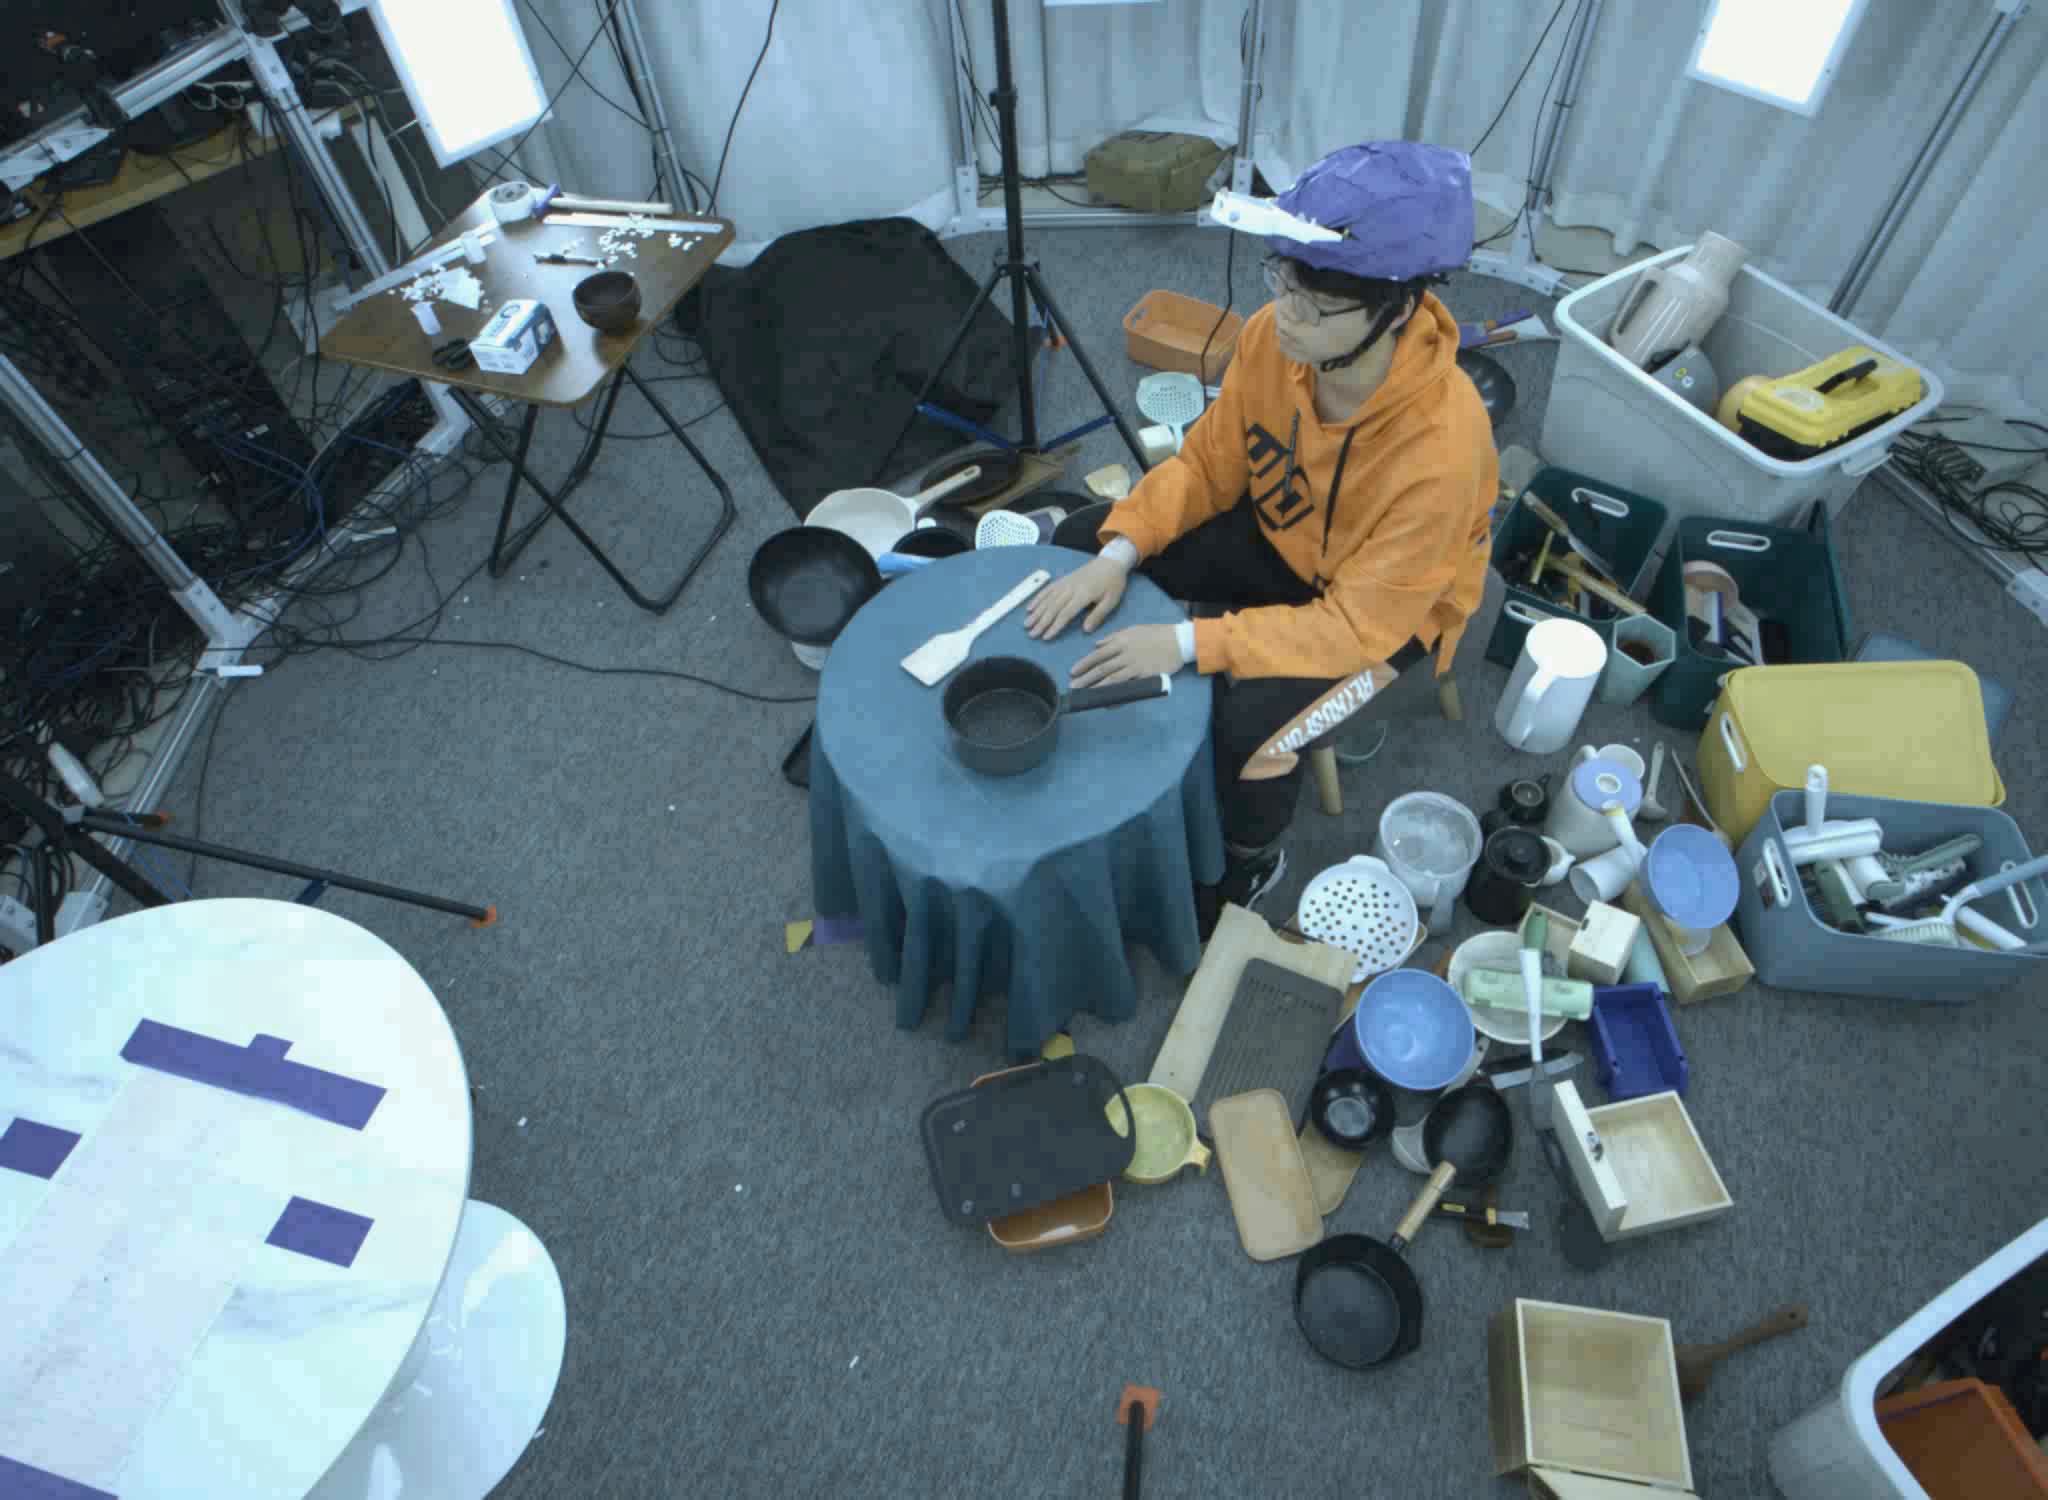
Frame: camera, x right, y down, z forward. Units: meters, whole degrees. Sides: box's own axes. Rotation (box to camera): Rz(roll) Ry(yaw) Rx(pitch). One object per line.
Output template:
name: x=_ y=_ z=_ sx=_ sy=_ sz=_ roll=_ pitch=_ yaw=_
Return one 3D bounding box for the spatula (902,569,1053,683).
spatula: x=-0.064 y=-0.202 z=1.927 sx=0.295 sy=0.011 sz=0.071 roll=-40 pitch=59 yaw=-23

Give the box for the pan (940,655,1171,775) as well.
pan: x=0.047 y=-0.056 z=1.773 sx=0.328 sy=0.087 sz=0.170 roll=-4 pitch=55 yaw=2
